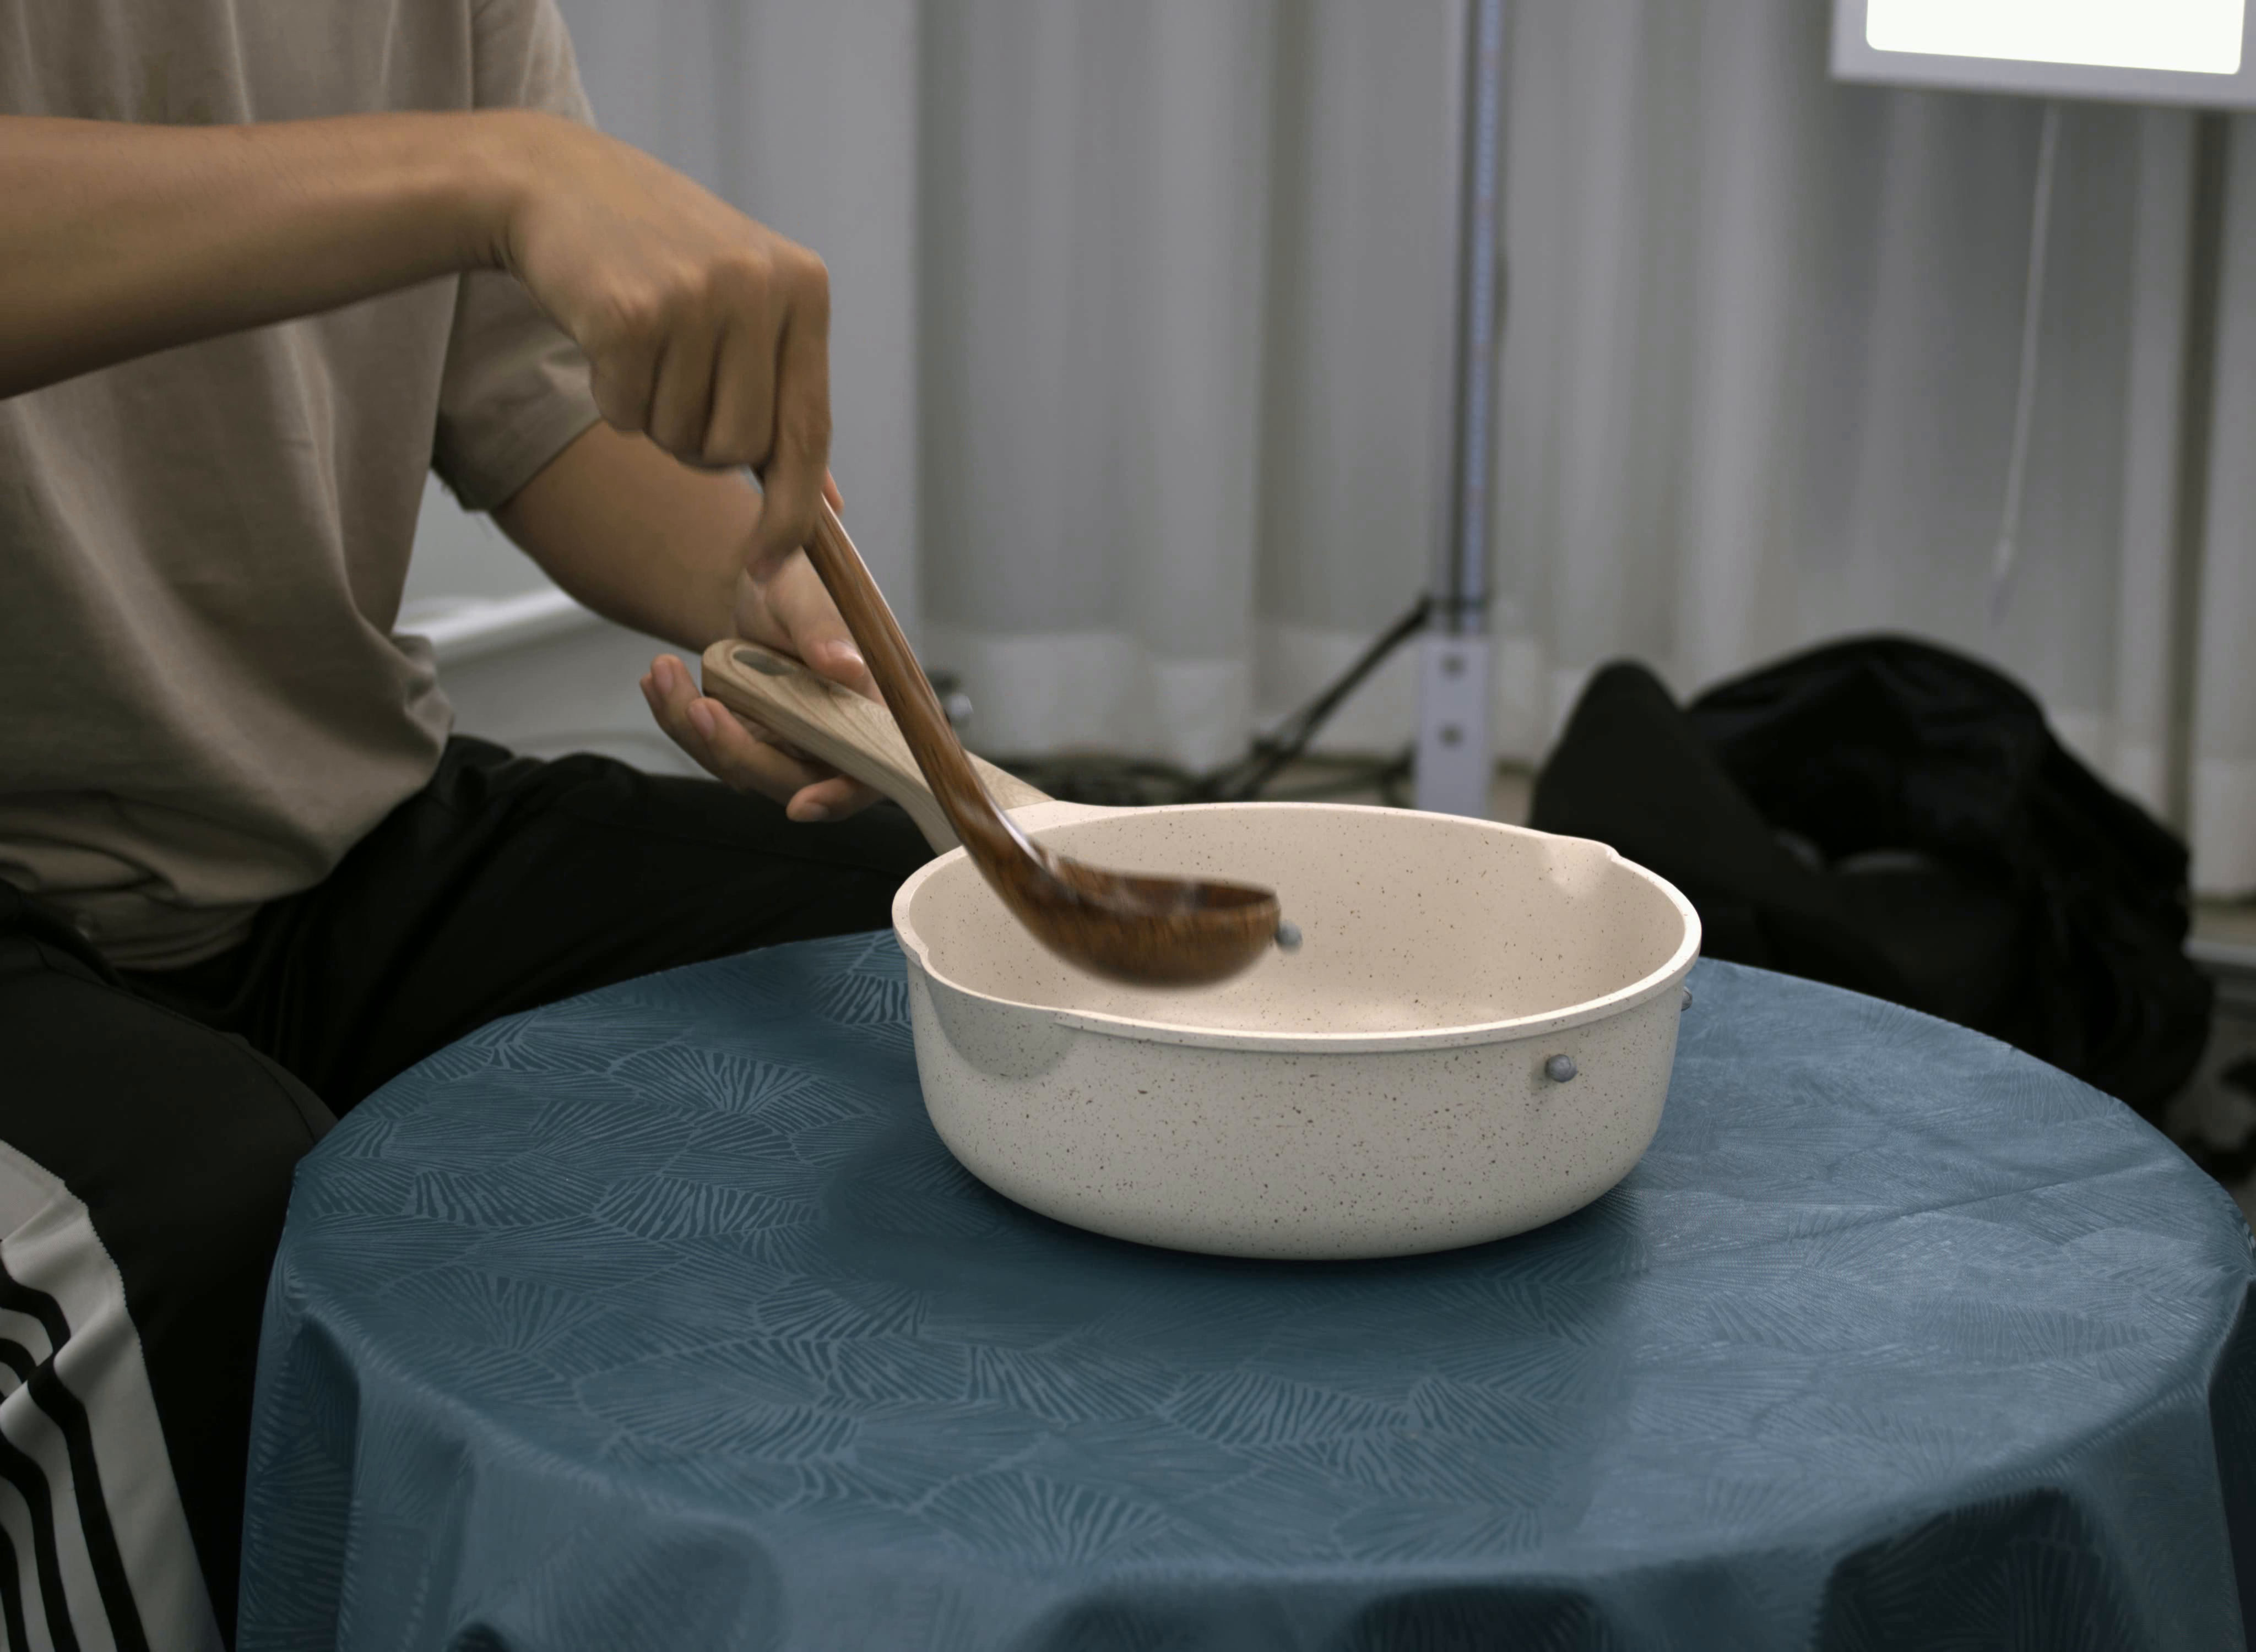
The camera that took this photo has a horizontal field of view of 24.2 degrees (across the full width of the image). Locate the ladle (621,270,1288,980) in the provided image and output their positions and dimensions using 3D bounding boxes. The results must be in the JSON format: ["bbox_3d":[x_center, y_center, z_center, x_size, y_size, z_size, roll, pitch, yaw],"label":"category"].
[{"bbox_3d":[-0.049,-0.066,1.590,0.076,0.275,0.081,-32,7,-3],"label":"ladle"}]

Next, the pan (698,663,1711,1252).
[{"bbox_3d":[-0.003,0.036,1.712,0.264,0.103,0.429,-14,21,-38],"label":"pan"}]
